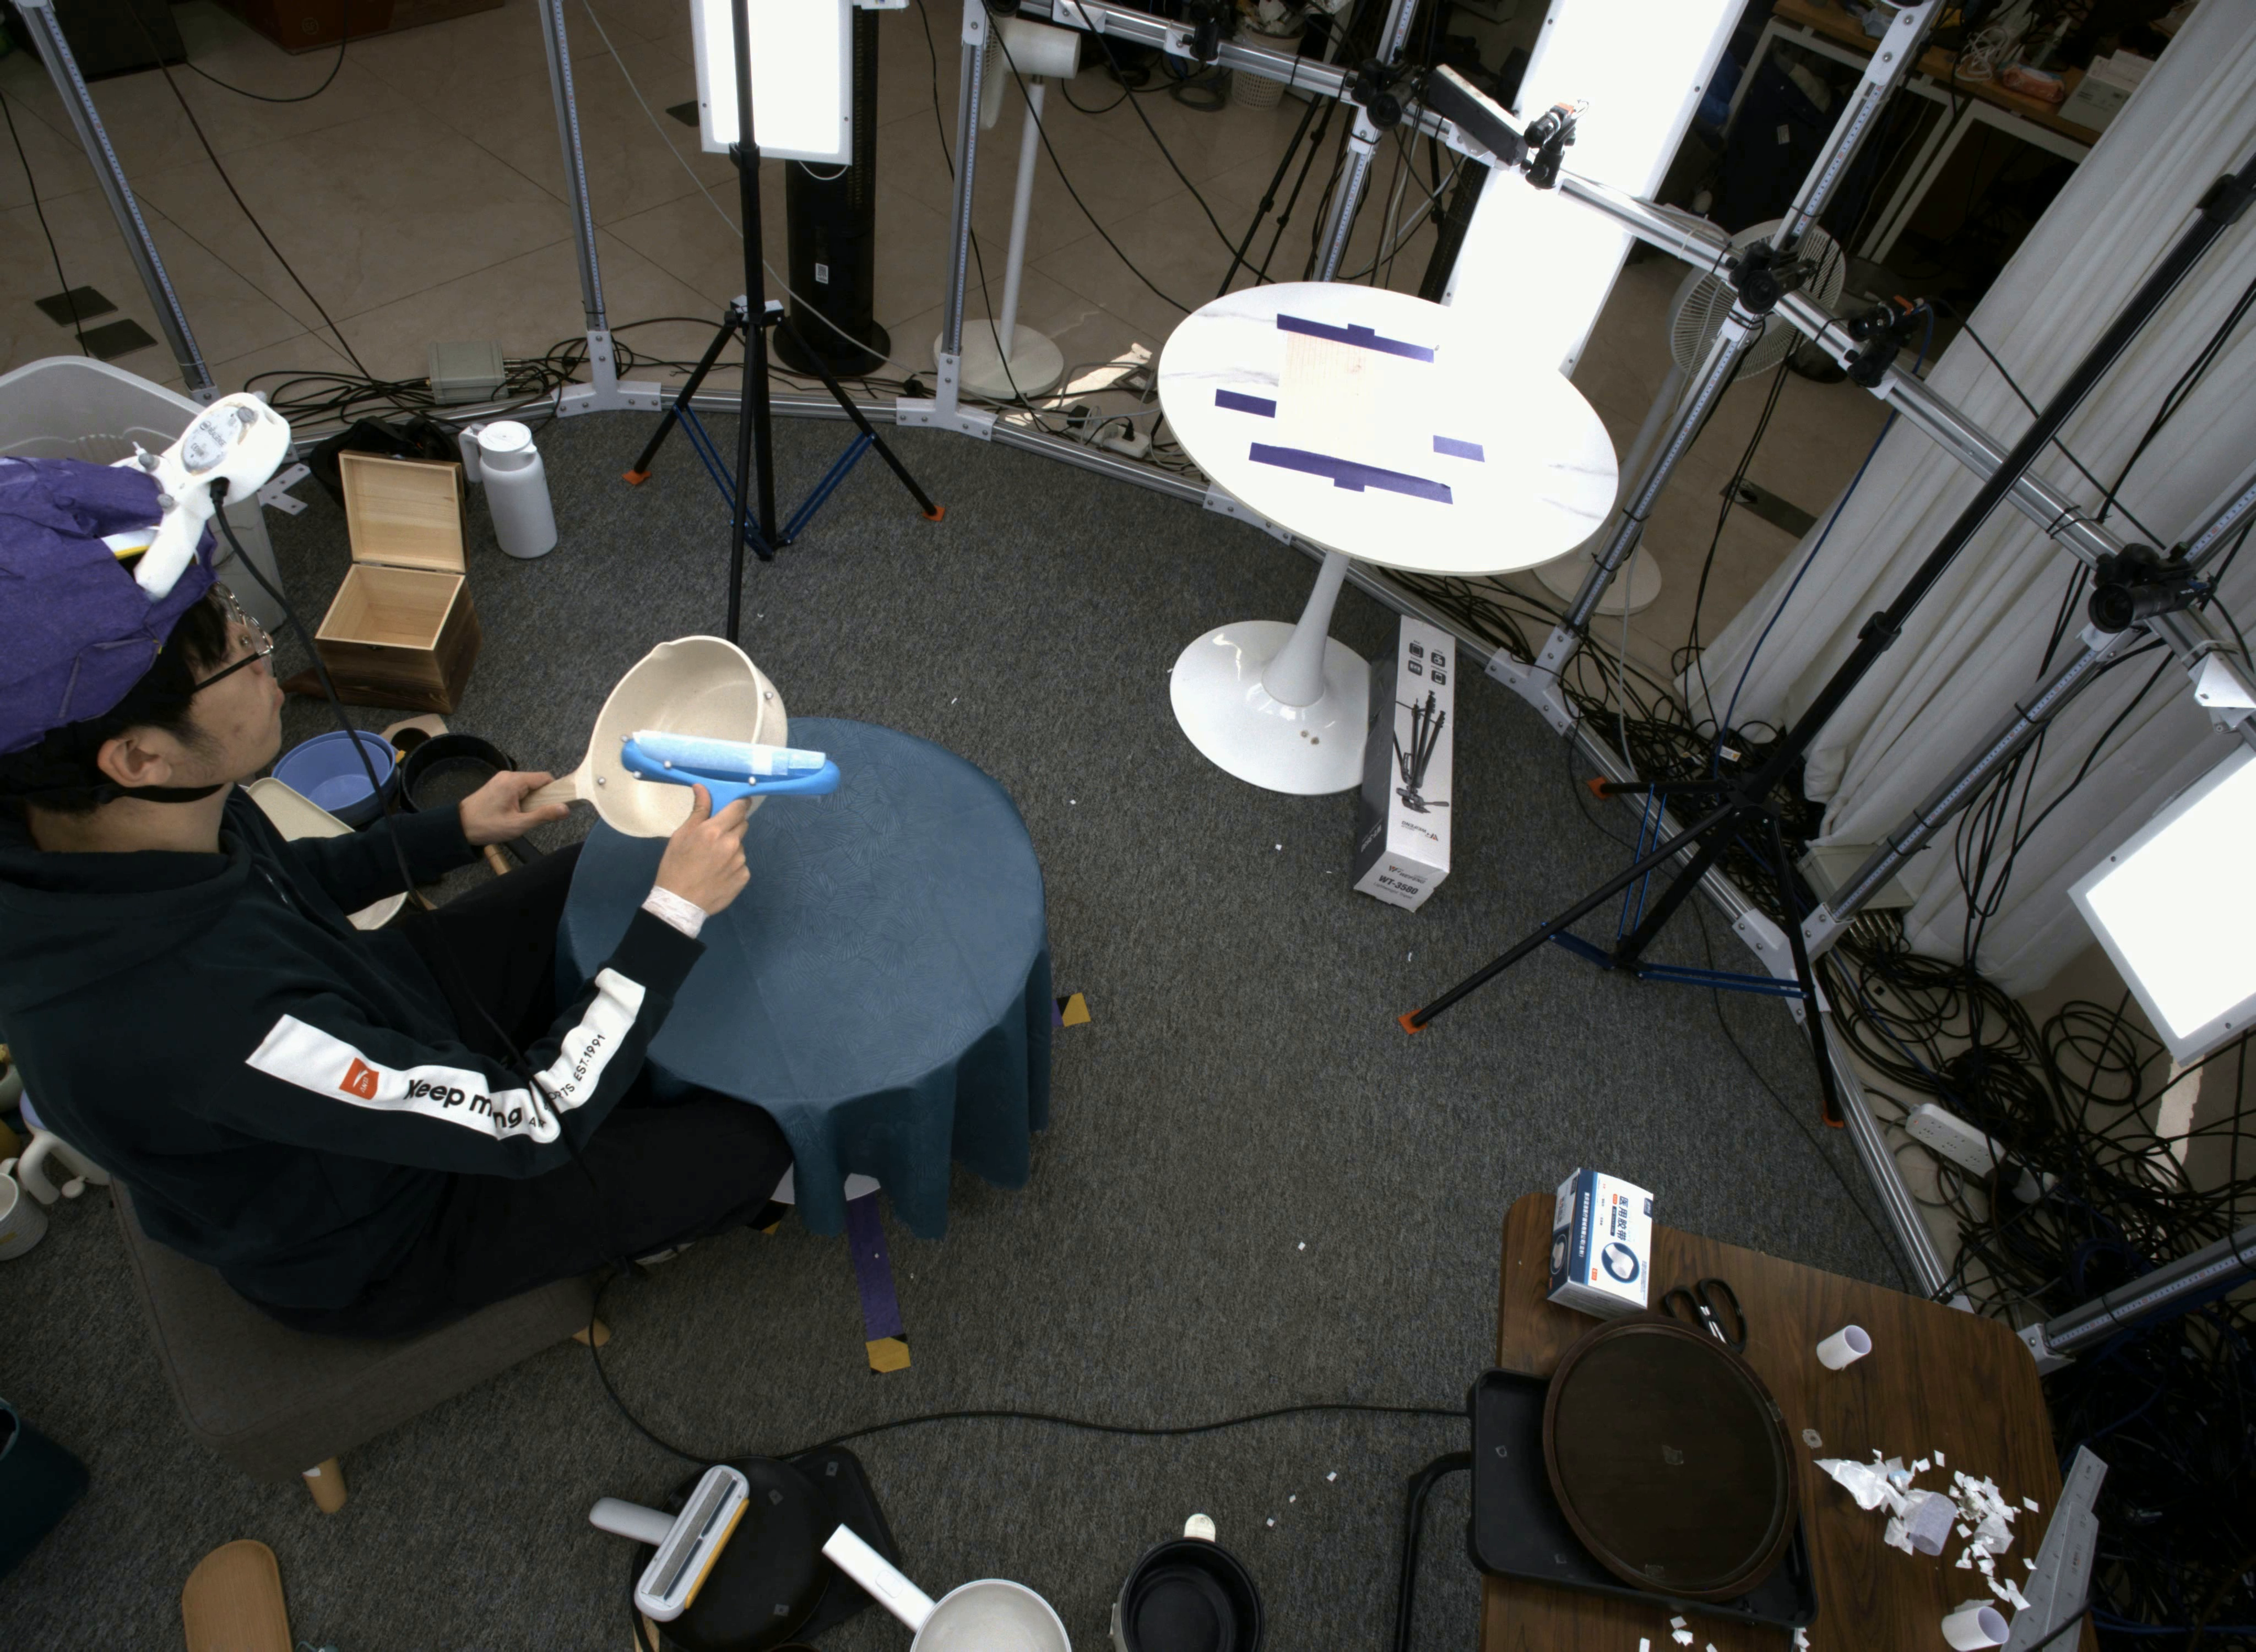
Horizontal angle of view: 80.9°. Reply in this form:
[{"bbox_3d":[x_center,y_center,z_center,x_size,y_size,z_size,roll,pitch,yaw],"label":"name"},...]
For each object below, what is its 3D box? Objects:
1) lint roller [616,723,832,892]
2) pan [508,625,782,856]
[{"bbox_3d":[-0.424,-0.025,1.335,0.230,0.069,0.176,6,53,-18],"label":"lint roller"},{"bbox_3d":[-0.594,-0.064,1.516,0.429,0.105,0.259,-26,66,13],"label":"pan"}]
